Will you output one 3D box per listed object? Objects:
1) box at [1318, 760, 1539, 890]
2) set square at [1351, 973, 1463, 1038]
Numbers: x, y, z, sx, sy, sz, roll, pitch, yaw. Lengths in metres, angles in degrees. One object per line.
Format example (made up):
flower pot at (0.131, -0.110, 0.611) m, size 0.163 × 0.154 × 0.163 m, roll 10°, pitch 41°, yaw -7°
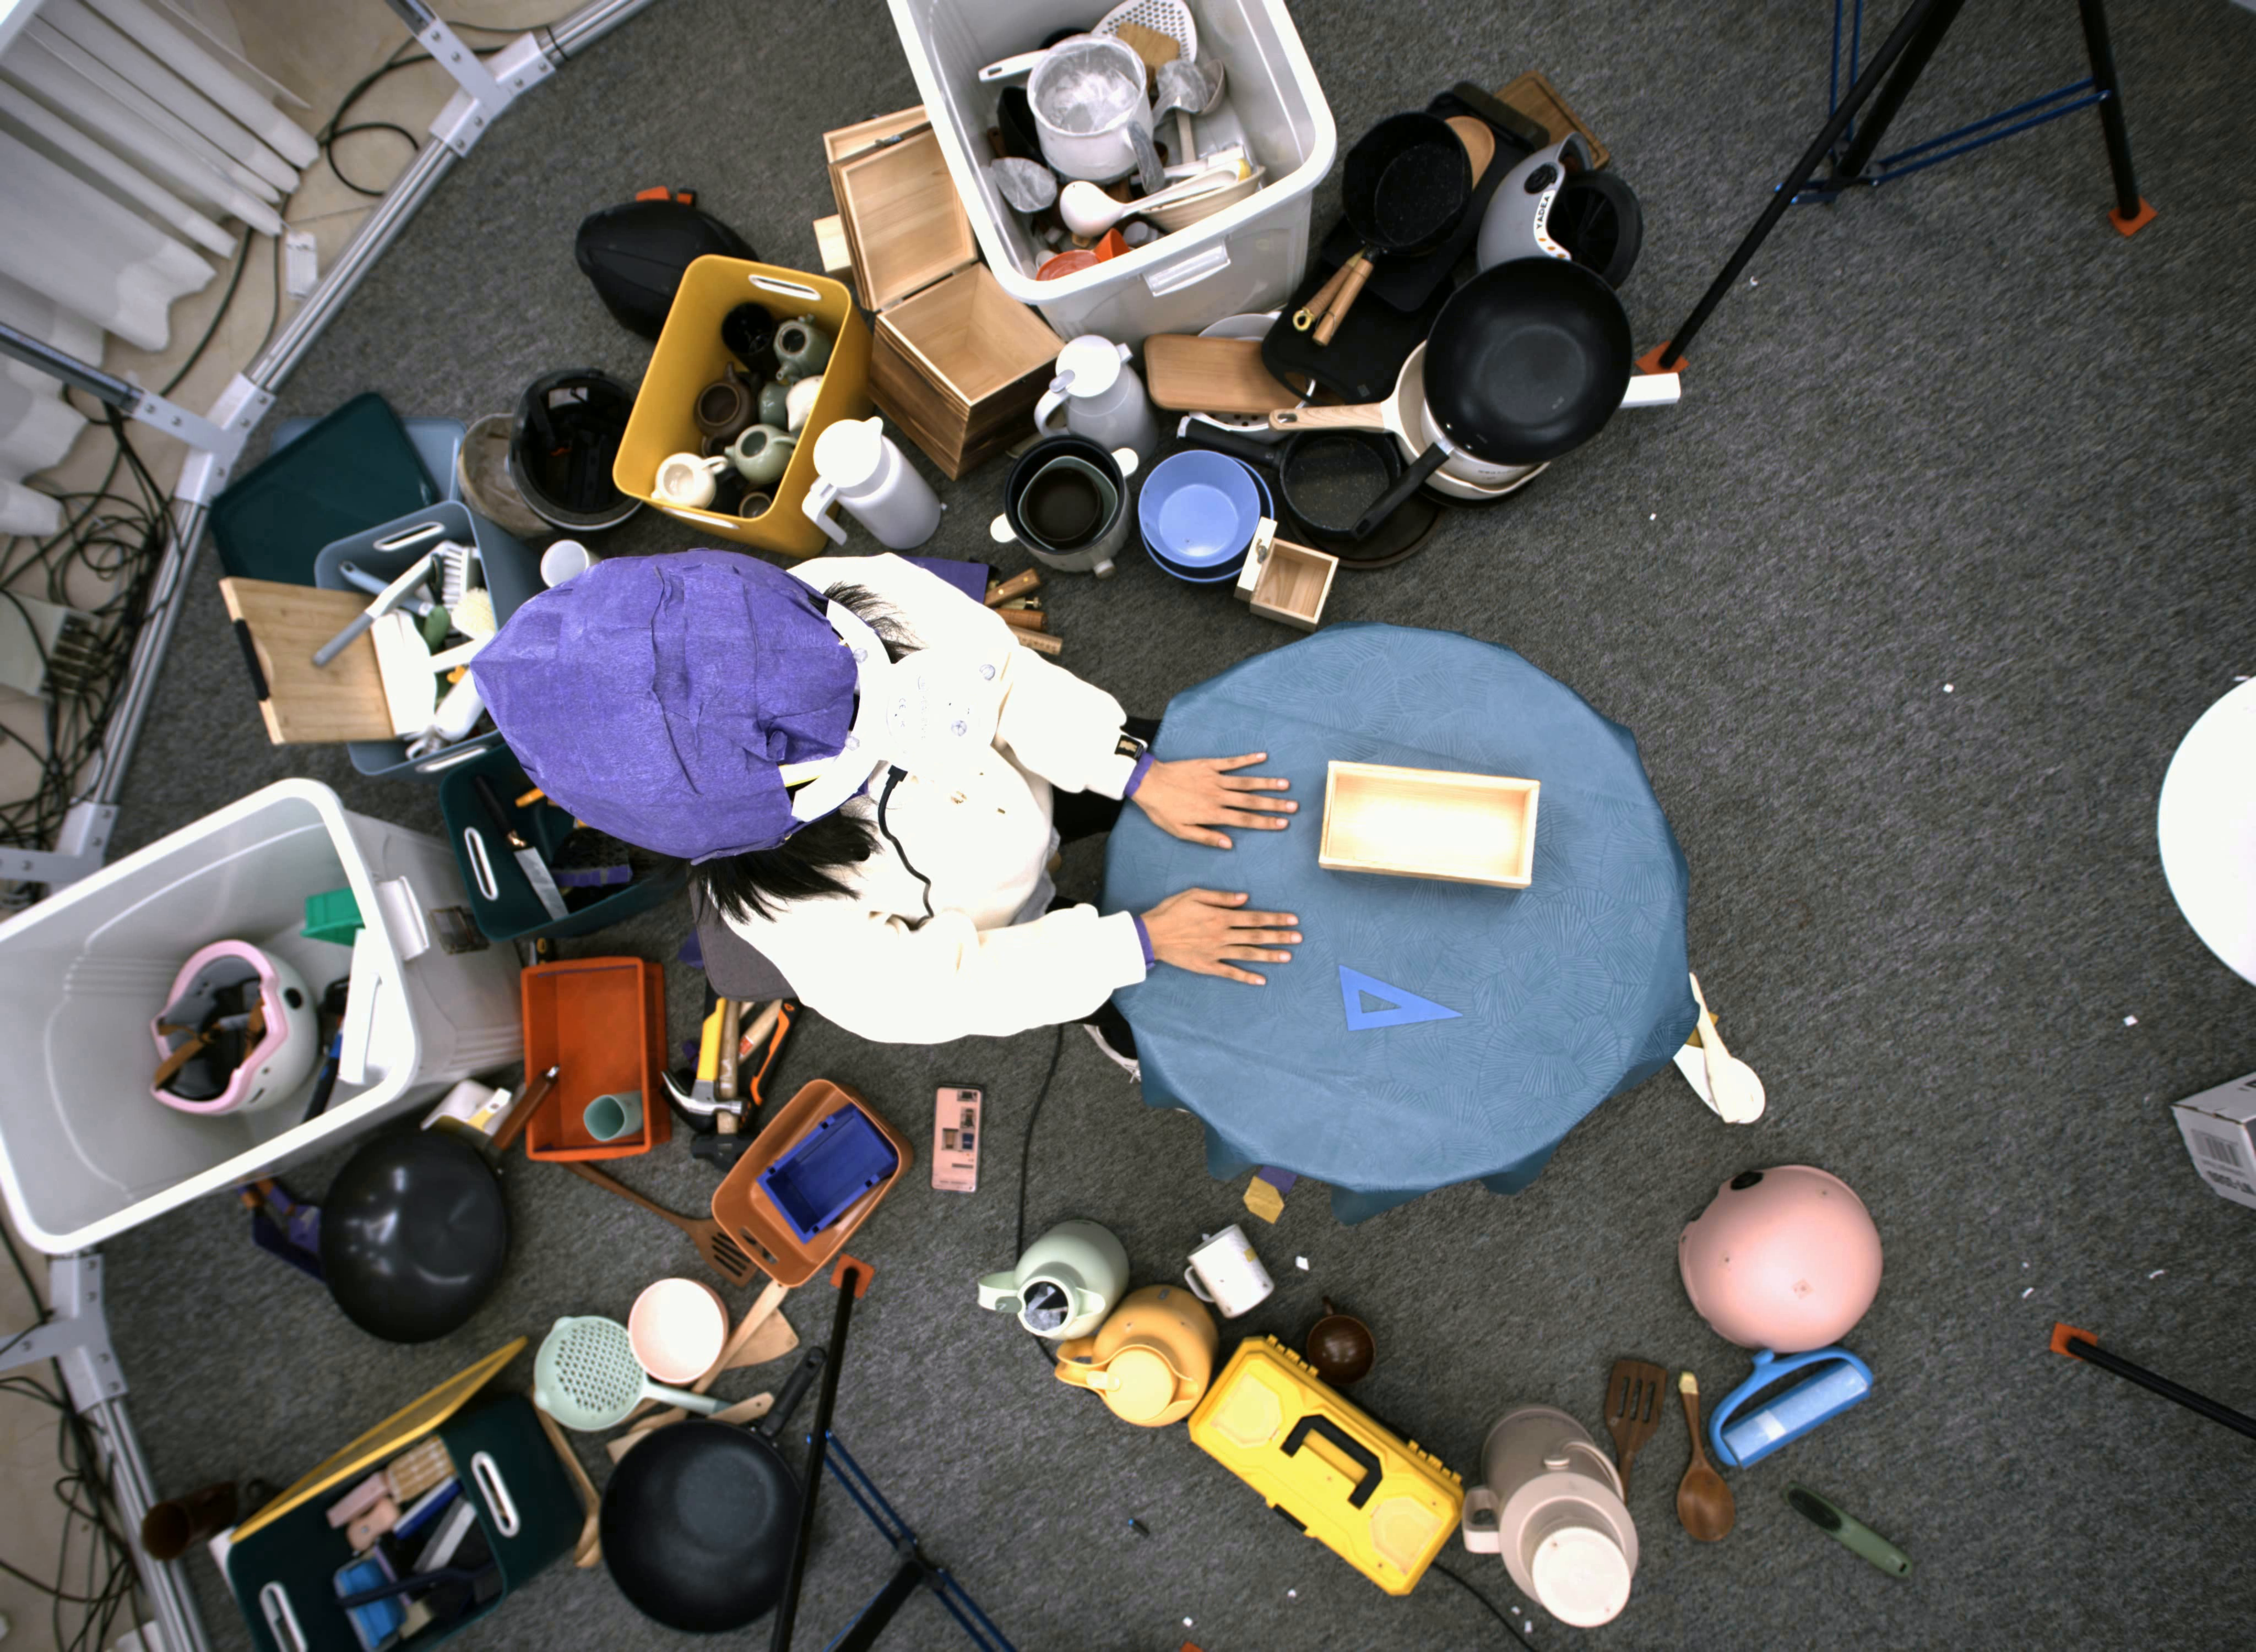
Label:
box at (0.306, -0.002, 1.417) m, size 0.212 × 0.080 × 0.107 m, roll 5°, pitch 86°, yaw 10°
set square at (0.281, 0.206, 1.449) m, size 0.132 × 0.006 × 0.061 m, roll 26°, pitch 91°, yaw 11°
